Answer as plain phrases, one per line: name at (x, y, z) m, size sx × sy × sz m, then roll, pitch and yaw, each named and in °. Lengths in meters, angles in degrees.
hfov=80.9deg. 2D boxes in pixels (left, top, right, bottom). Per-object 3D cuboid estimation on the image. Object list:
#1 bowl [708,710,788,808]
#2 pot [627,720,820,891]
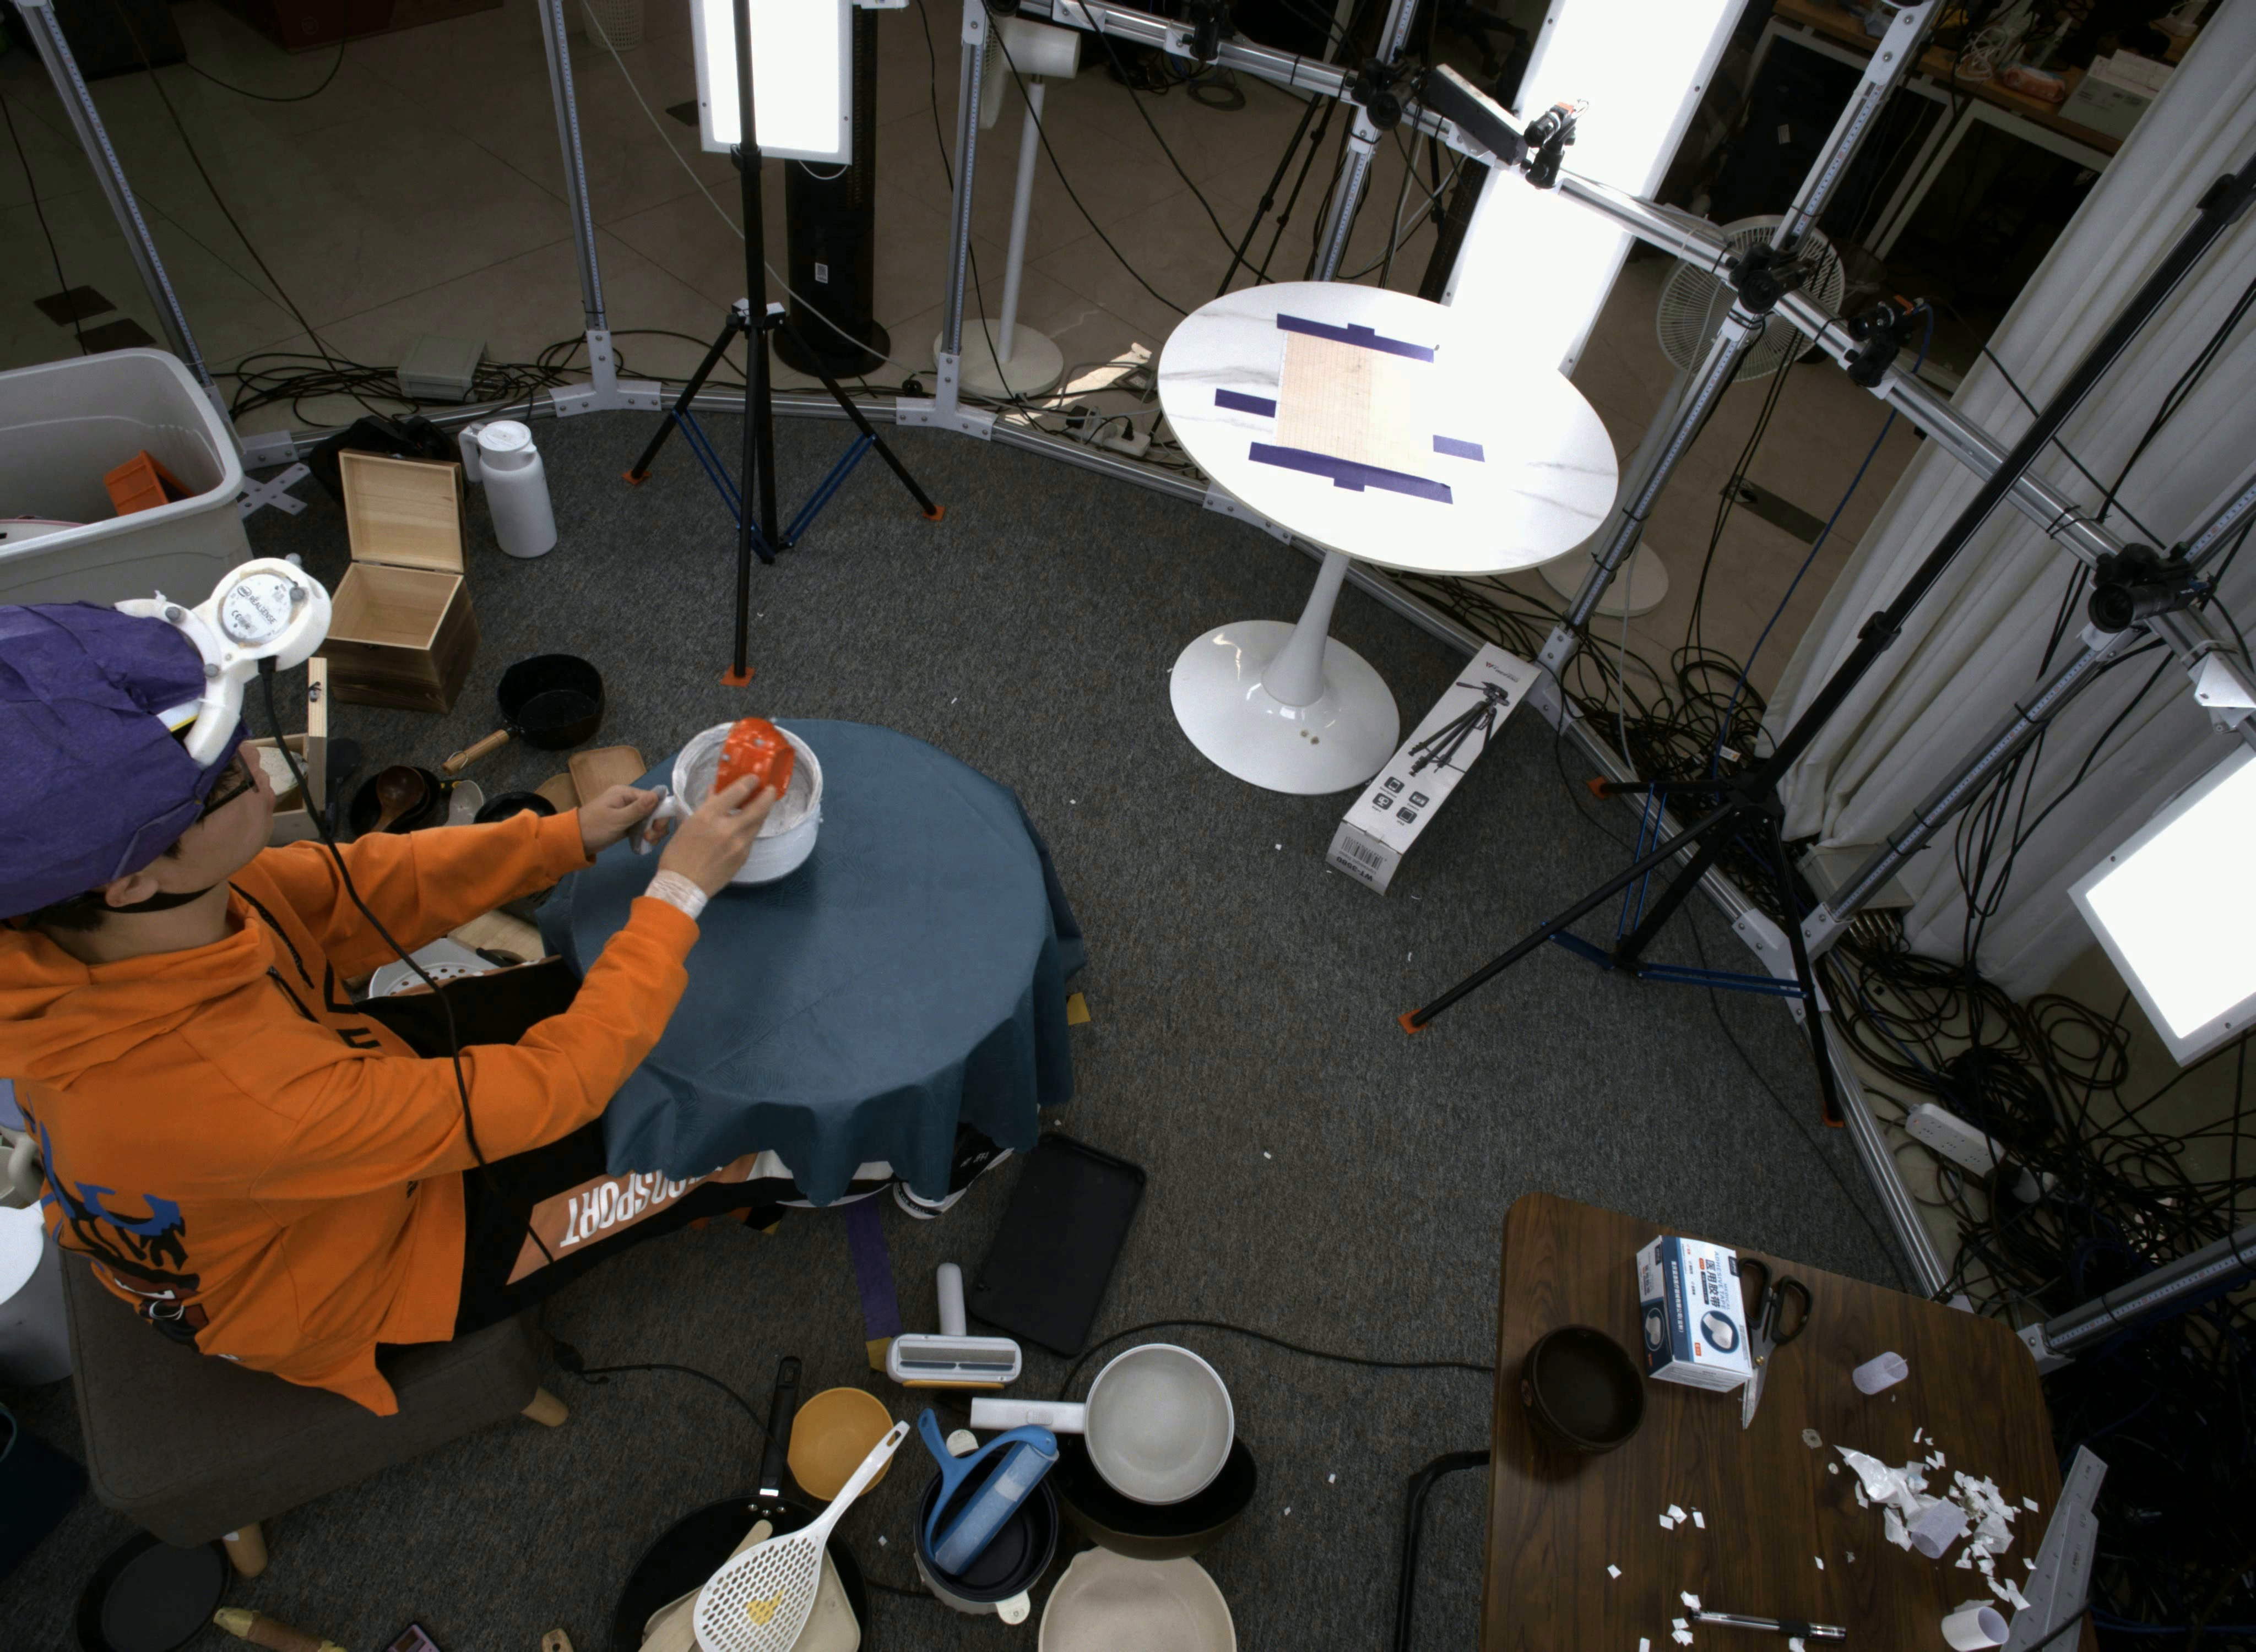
bowl at (-0.423, -0.071, 1.459) m, size 0.050 × 0.122 × 0.118 m, roll 15°, pitch 50°, yaw 9°
pot at (-0.497, -0.018, 1.581) m, size 0.235 × 0.138 × 0.175 m, roll -11°, pitch 60°, yaw -25°
